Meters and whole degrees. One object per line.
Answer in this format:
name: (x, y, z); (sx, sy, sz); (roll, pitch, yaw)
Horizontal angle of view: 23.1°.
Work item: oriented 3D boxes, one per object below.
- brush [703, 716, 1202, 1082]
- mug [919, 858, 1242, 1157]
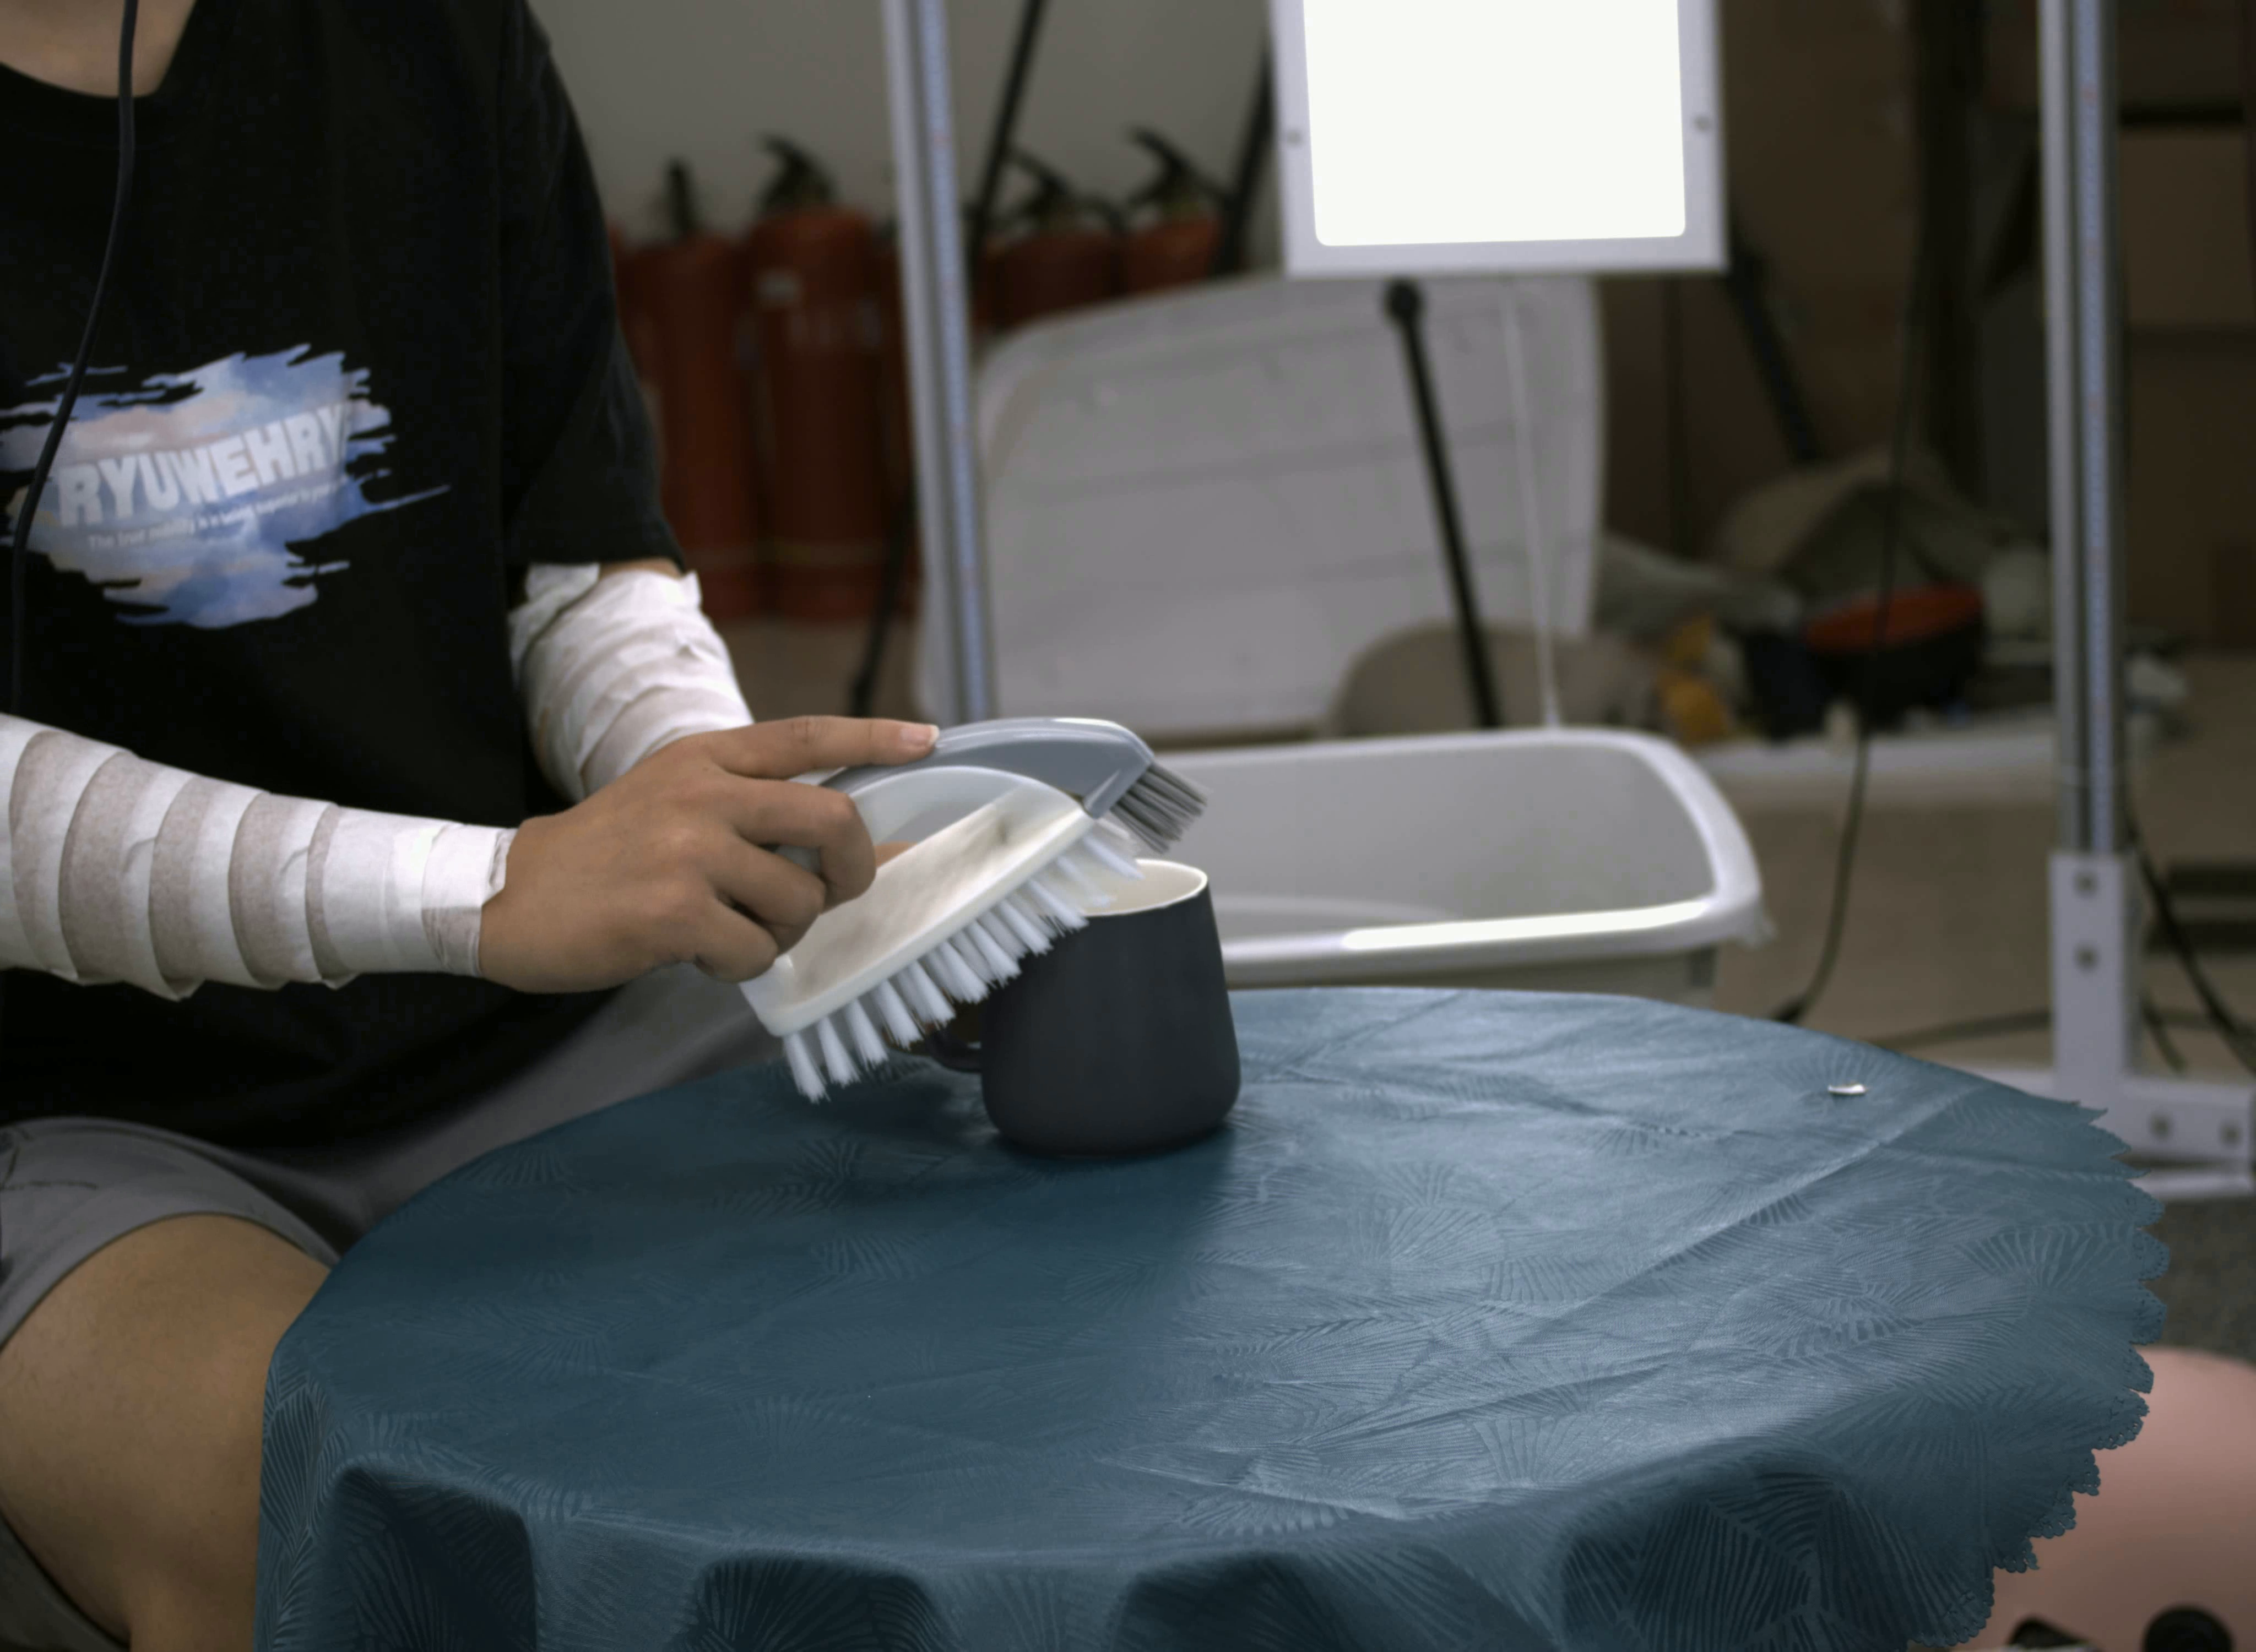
brush: (-0.067, 0.008, 1.918); (0.176, 0.093, 0.061); (-30, 32, 9)
mug: (-0.021, 0.064, 1.973); (0.125, 0.090, 0.091); (3, 17, 31)
